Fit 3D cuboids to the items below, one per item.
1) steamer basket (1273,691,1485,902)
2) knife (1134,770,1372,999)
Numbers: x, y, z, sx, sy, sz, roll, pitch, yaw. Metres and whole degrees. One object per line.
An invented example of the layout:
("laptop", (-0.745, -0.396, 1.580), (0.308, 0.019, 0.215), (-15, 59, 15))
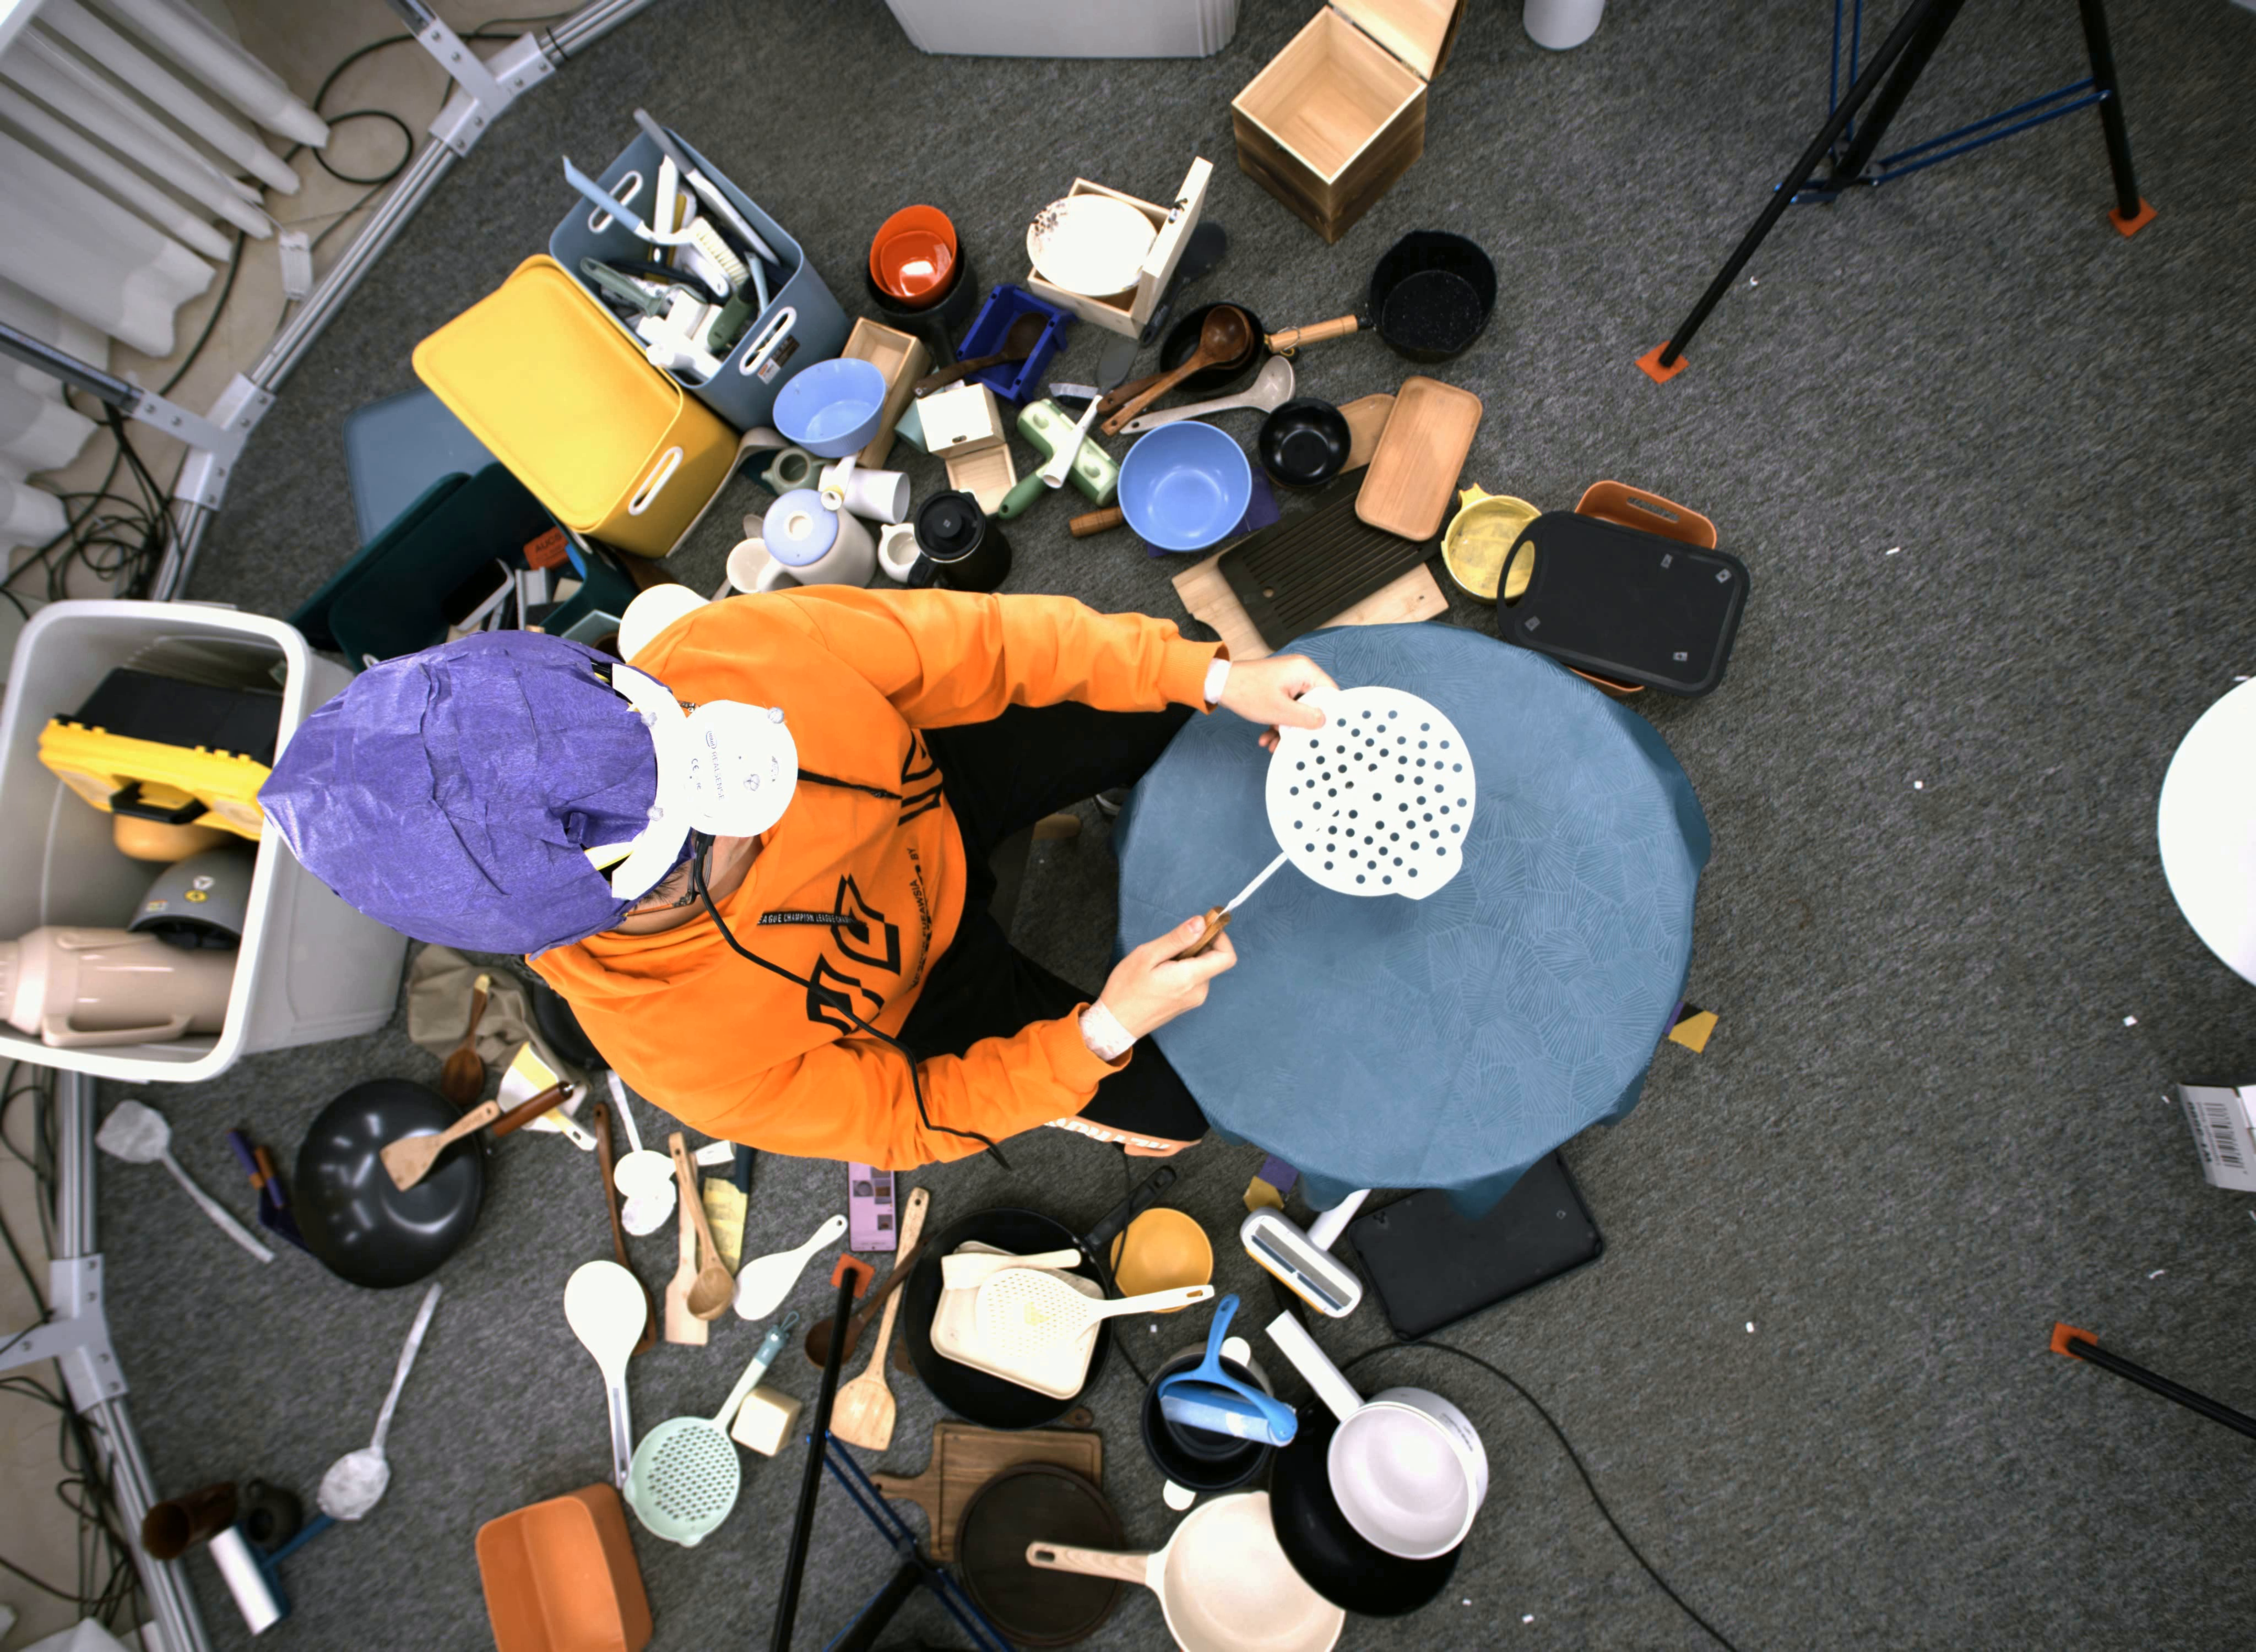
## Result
("steamer basket", (0.246, -0.029, 1.343), (0.204, 0.069, 0.229), (-40, 79, 13))
("knife", (0.118, 0.054, 1.303), (0.021, 0.091, 0.311), (48, 116, 10))
